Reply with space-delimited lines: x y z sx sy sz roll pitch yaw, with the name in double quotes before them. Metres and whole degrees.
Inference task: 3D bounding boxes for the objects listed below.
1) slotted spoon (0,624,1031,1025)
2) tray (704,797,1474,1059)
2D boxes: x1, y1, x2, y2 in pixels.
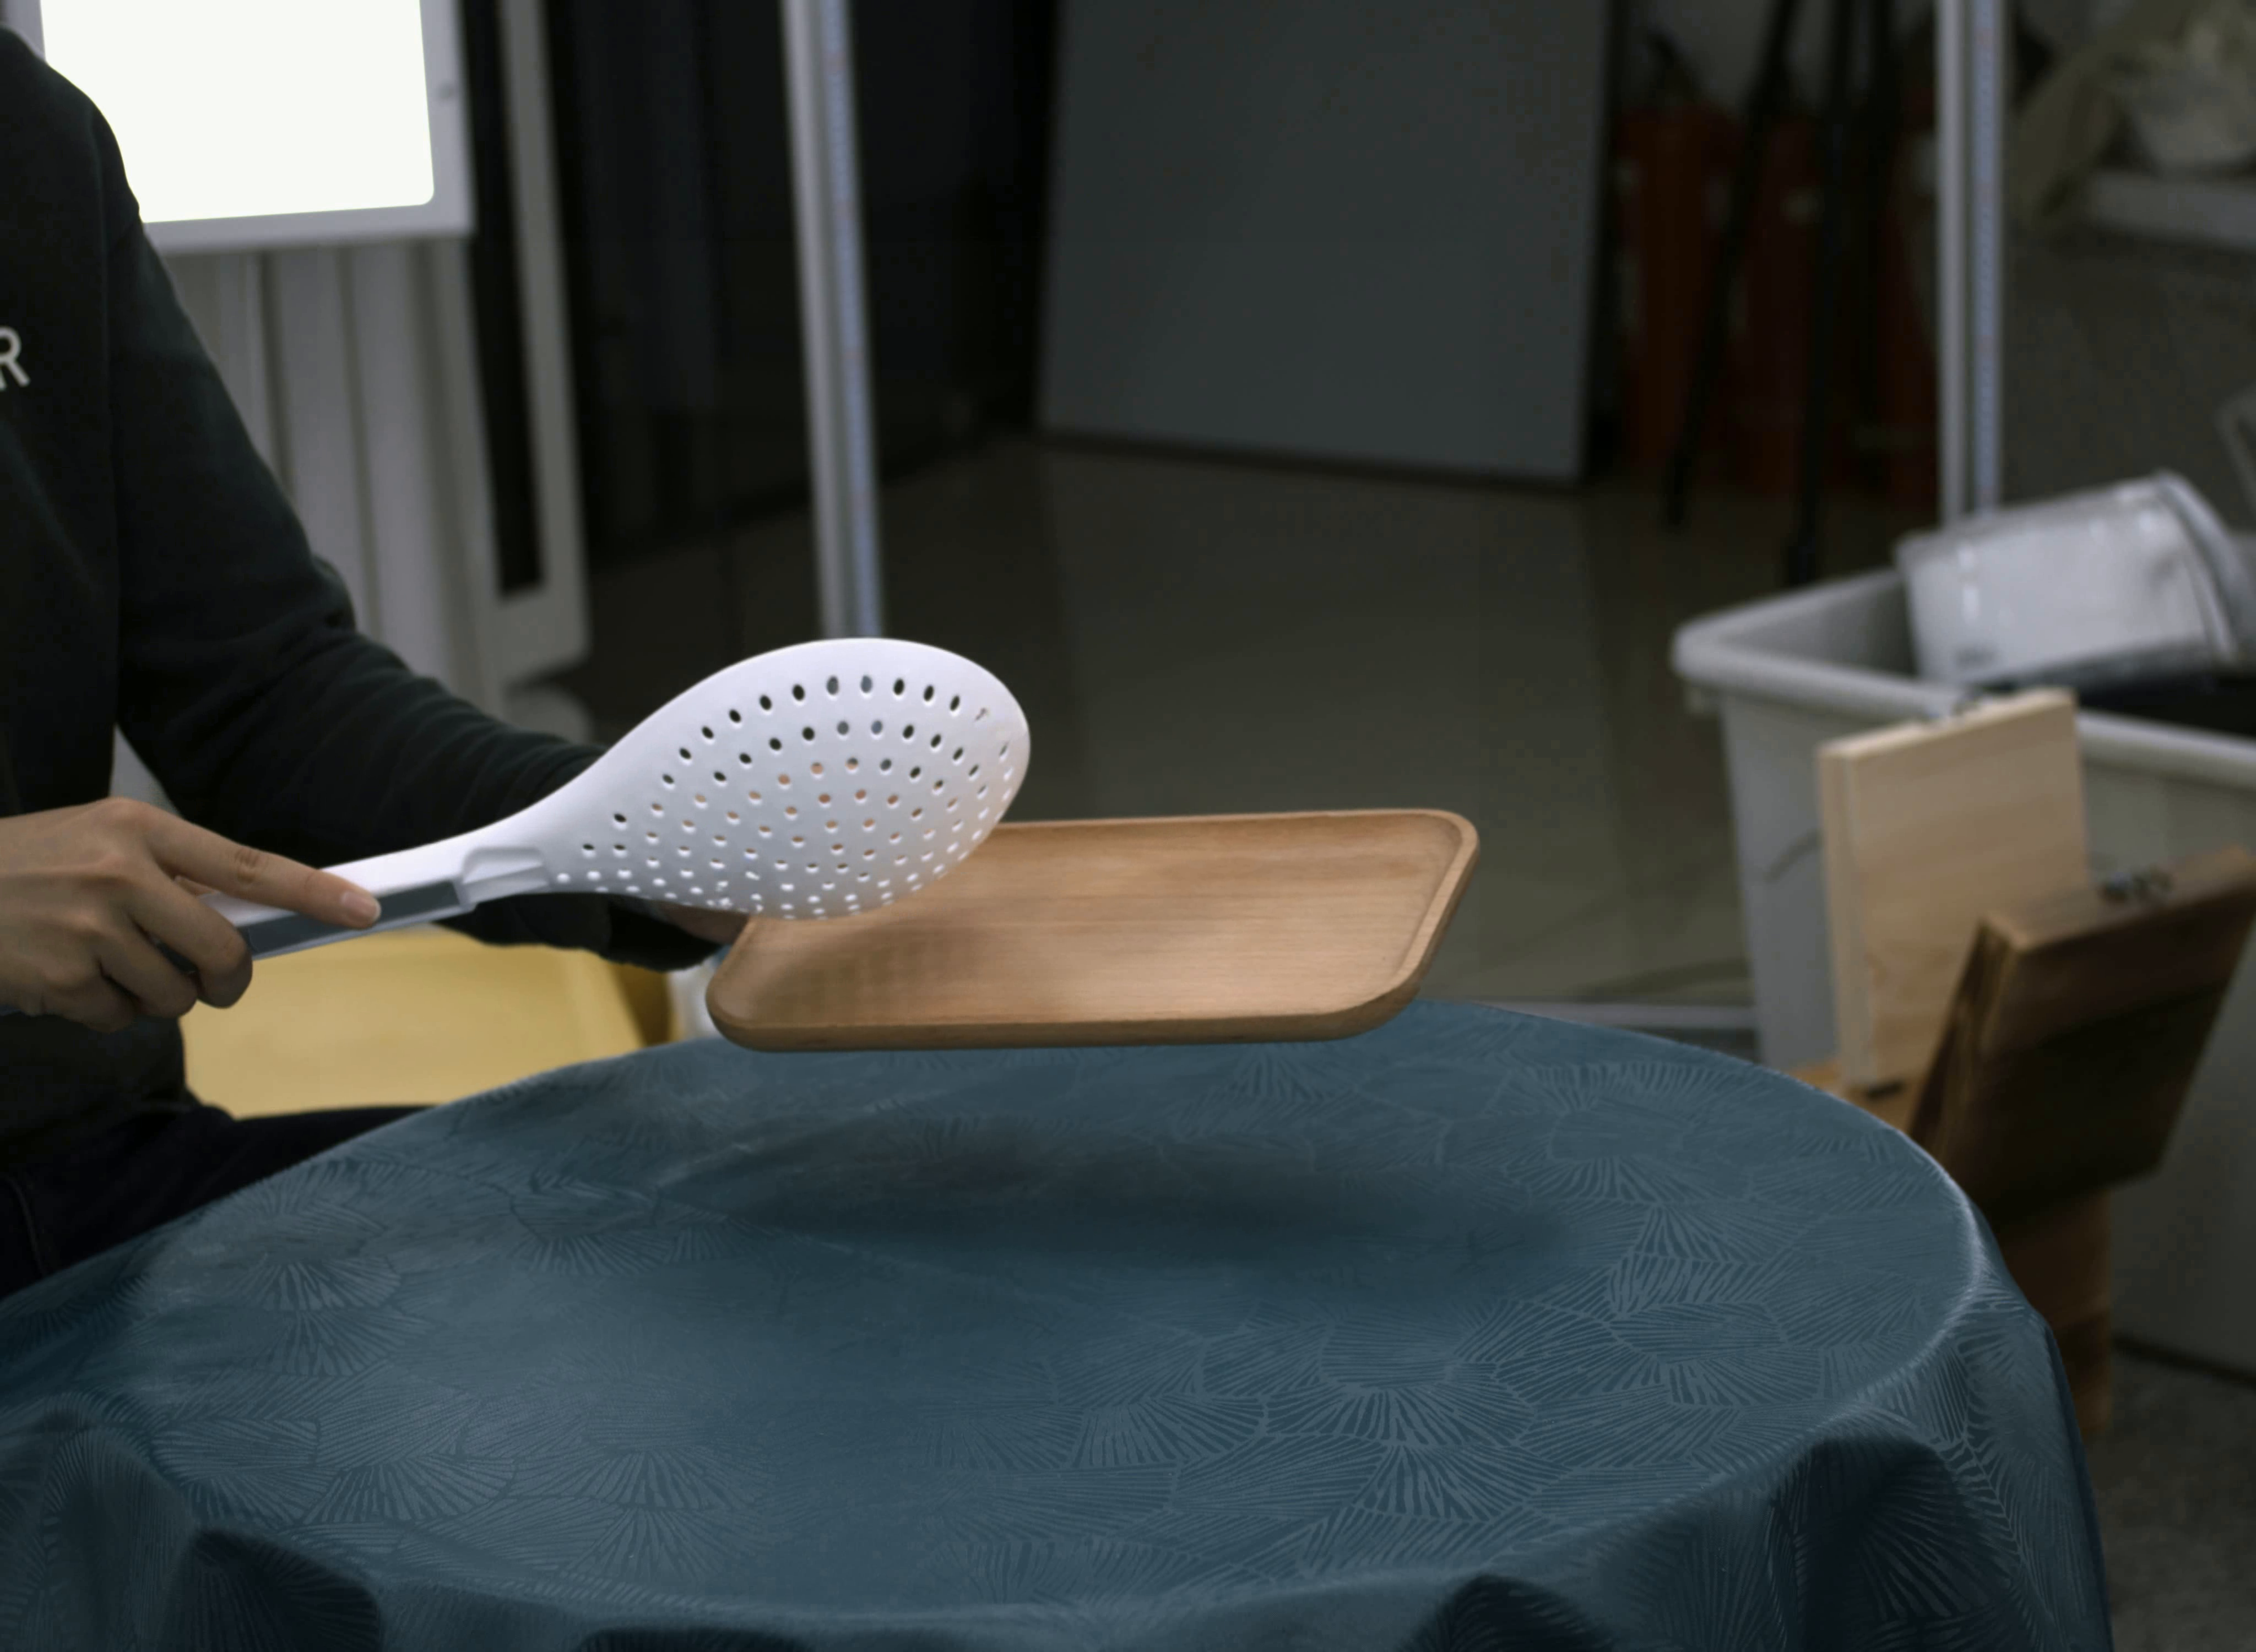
"slotted spoon" -0.200 0.012 1.748 0.346 0.136 0.046 -10 51 3
"tray" -0.013 0.035 1.768 0.251 0.023 0.130 -4 28 24
